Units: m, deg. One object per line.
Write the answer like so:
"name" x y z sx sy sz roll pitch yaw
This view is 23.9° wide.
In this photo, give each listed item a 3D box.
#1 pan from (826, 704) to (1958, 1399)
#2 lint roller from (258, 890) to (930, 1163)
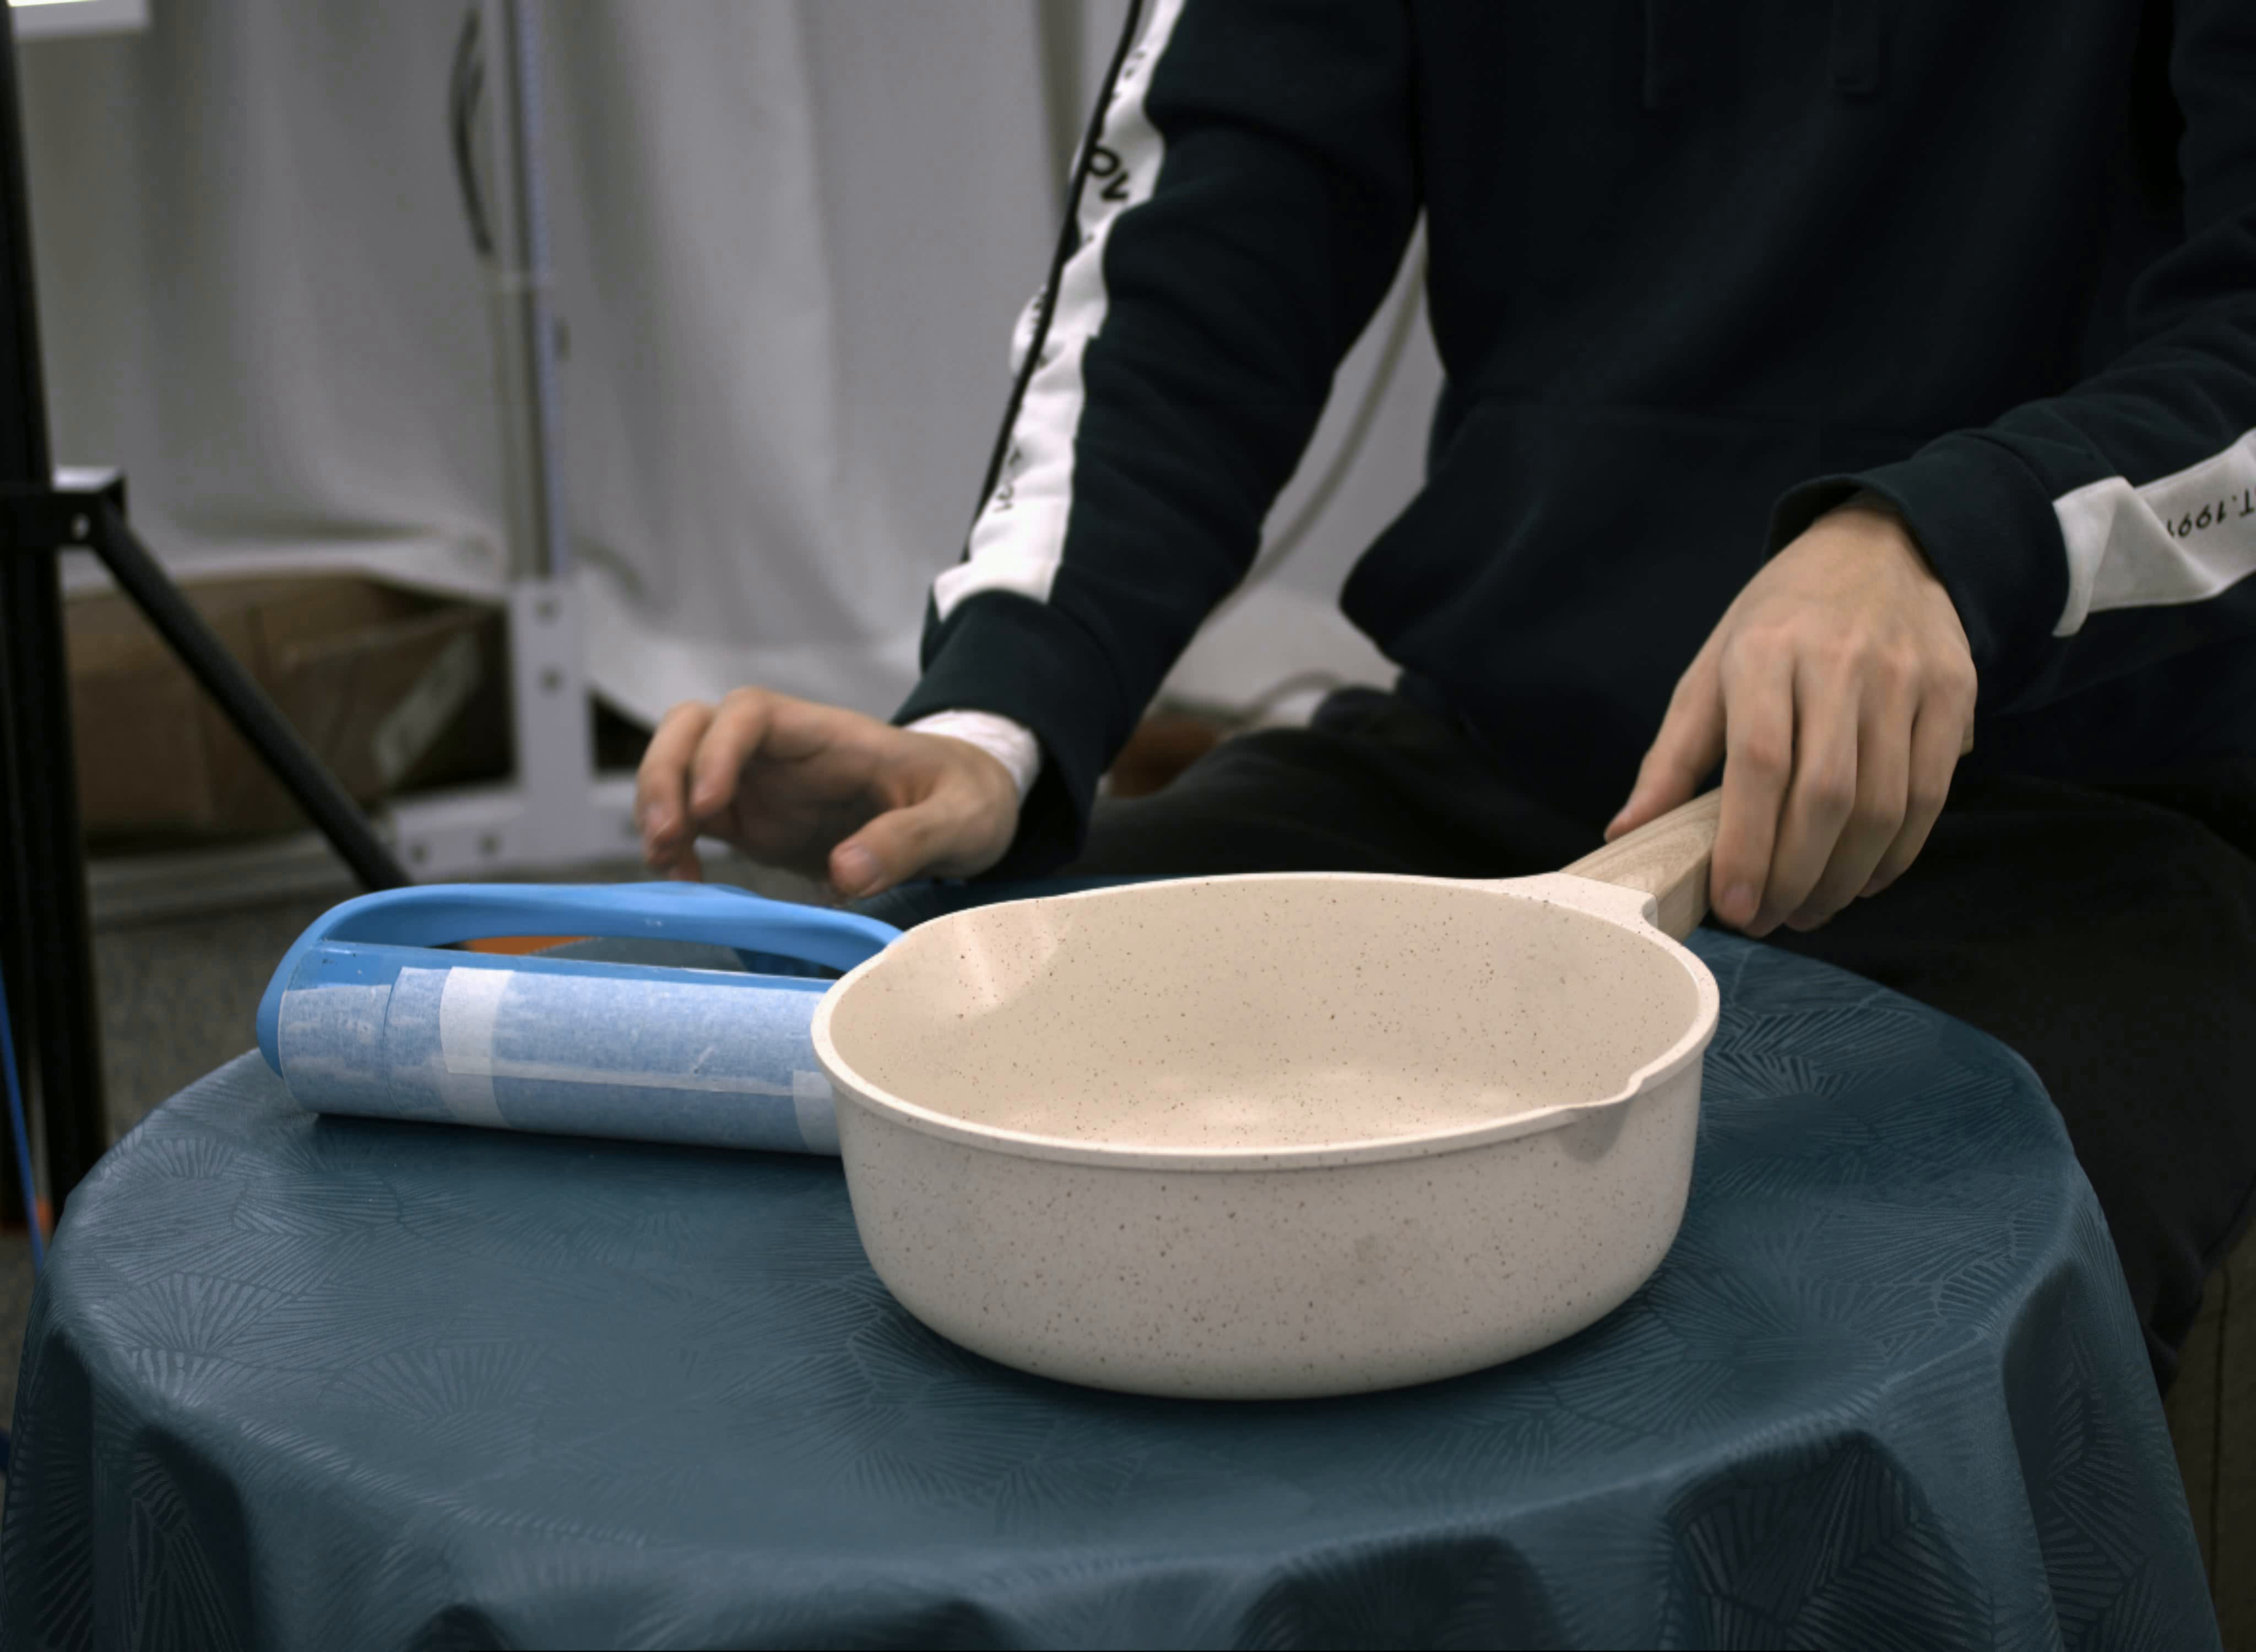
"pan" 0.107 0.060 1.526 0.425 0.102 0.269 -17 20 -42
"lint roller" -0.144 0.051 1.681 0.231 0.068 0.178 1 18 18
